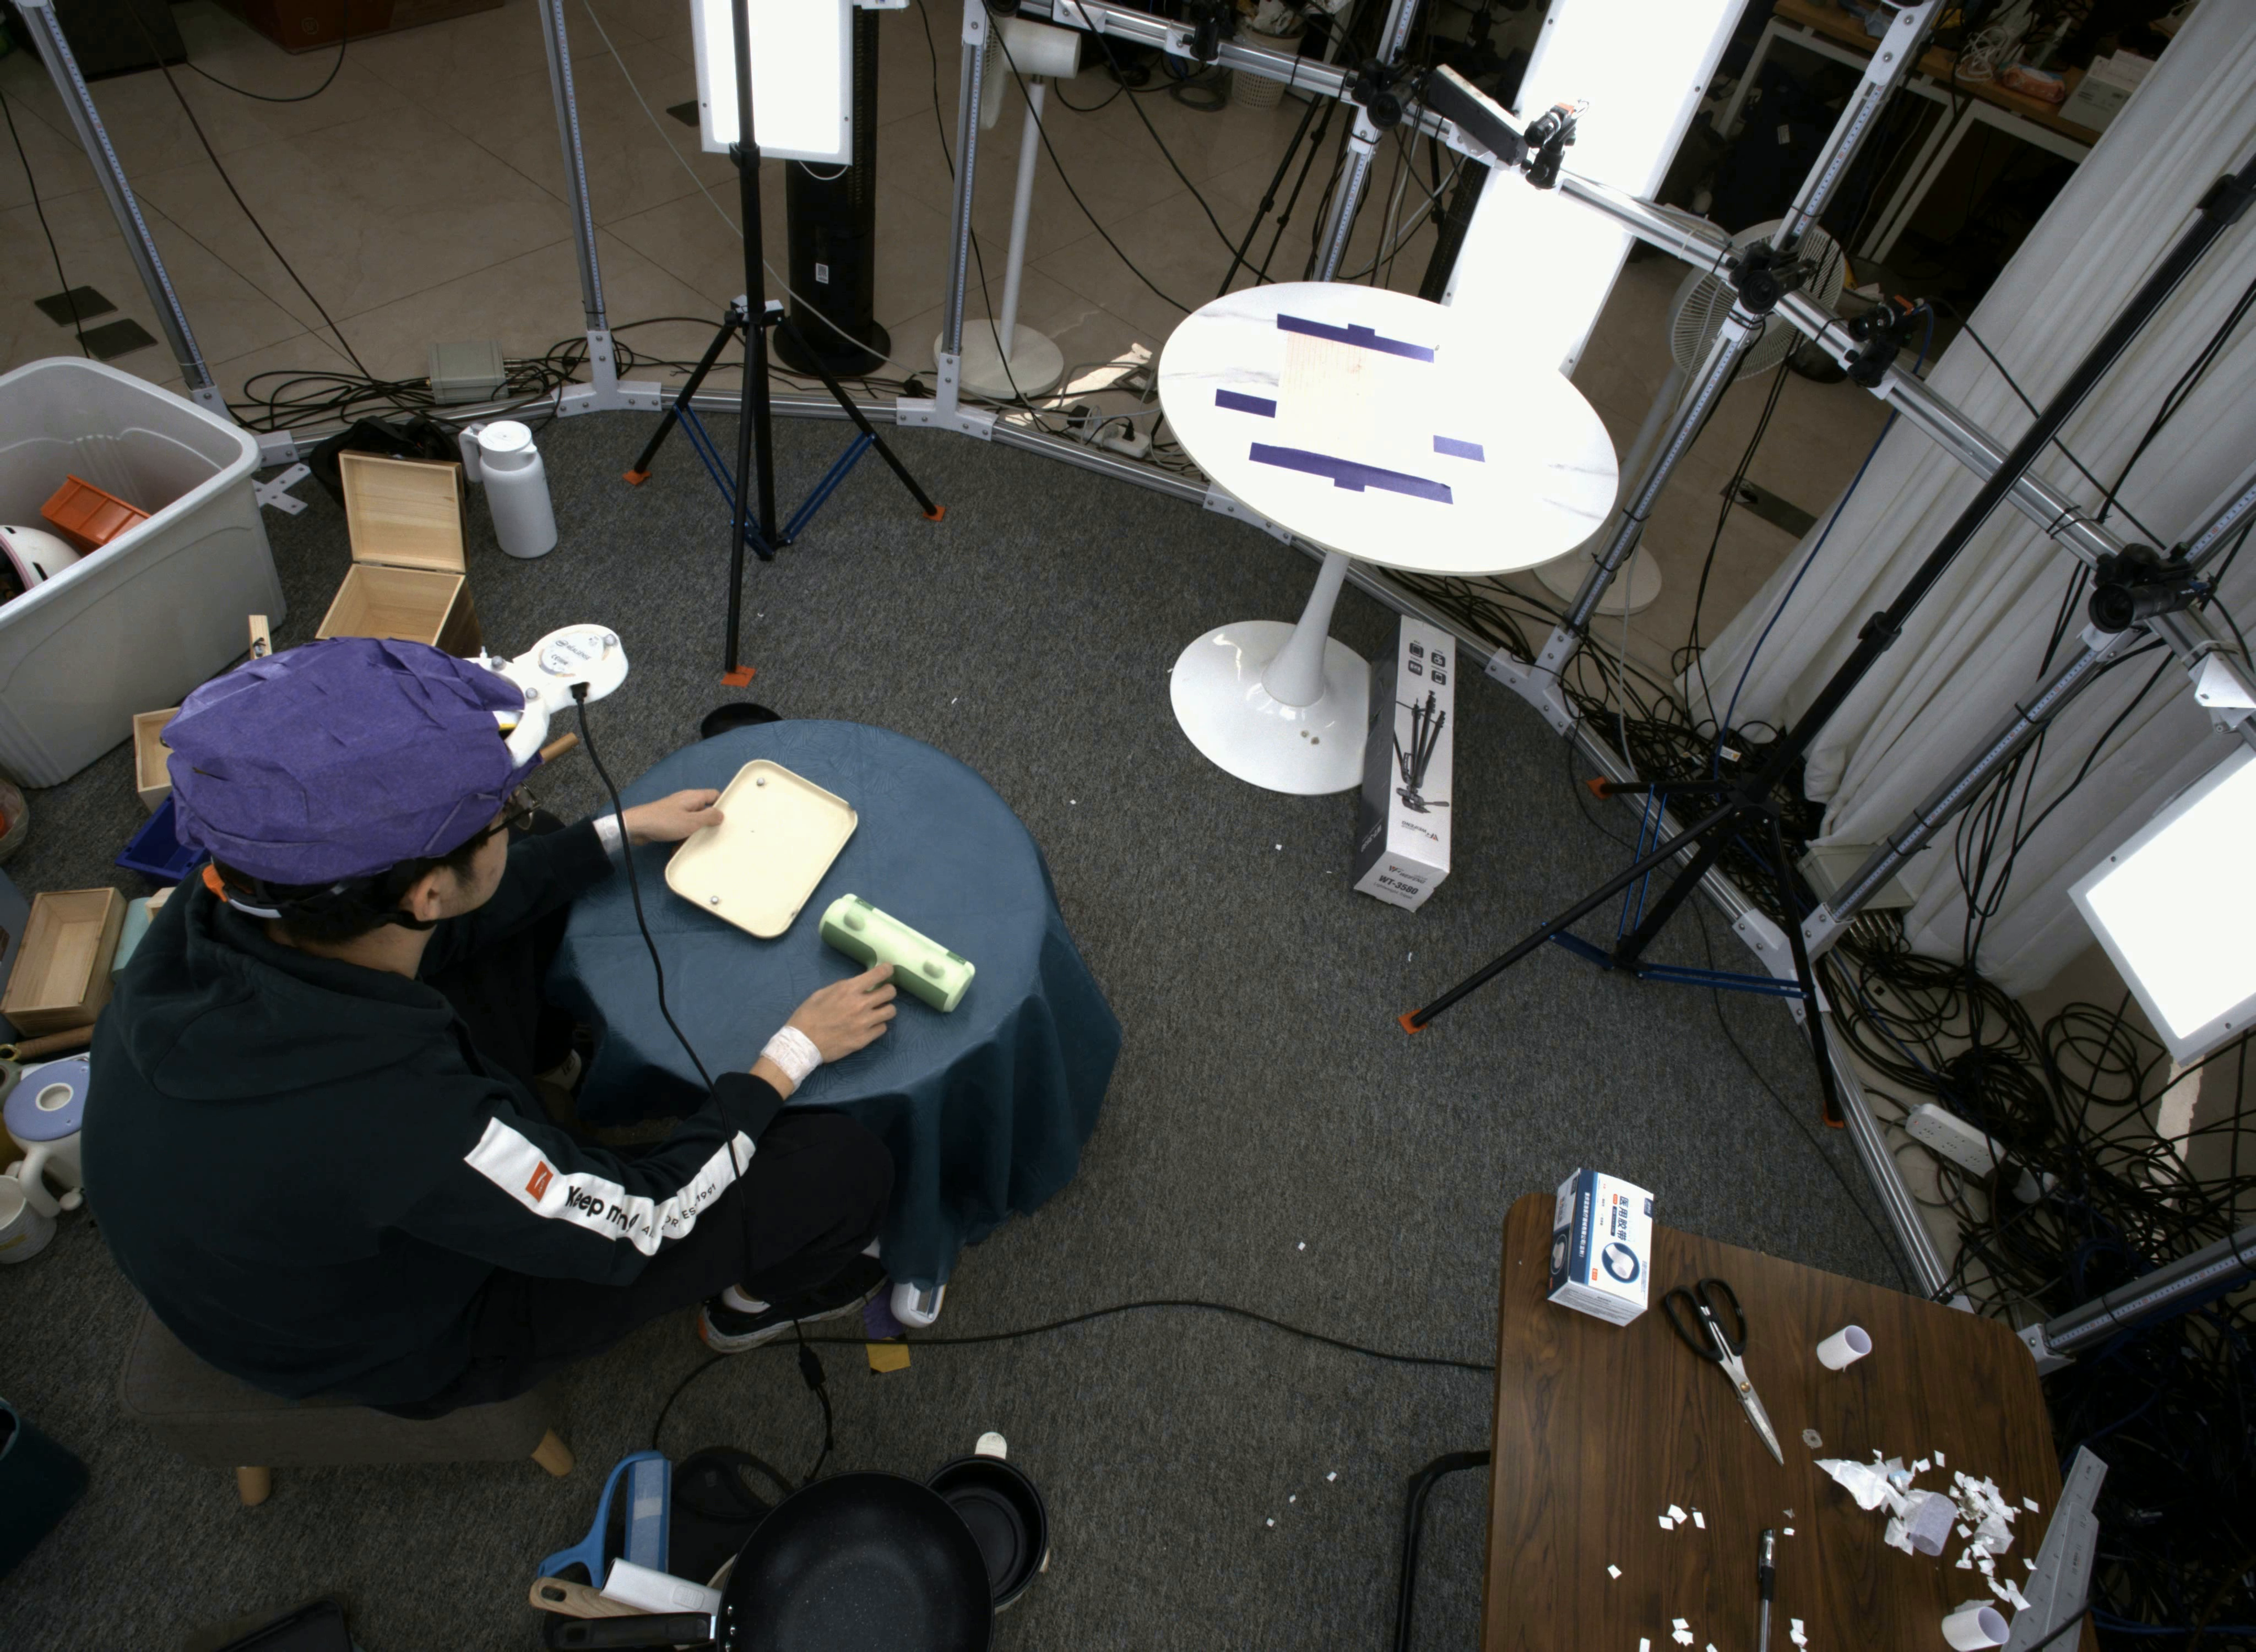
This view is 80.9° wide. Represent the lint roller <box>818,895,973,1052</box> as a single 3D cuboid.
[{"bbox_3d":[-0.313,0.186,1.570,0.196,0.083,0.182,30,49,6],"label":"lint roller"}]

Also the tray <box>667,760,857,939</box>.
[{"bbox_3d":[-0.469,0.027,1.672,0.171,0.017,0.237,28,52,-4],"label":"tray"}]
